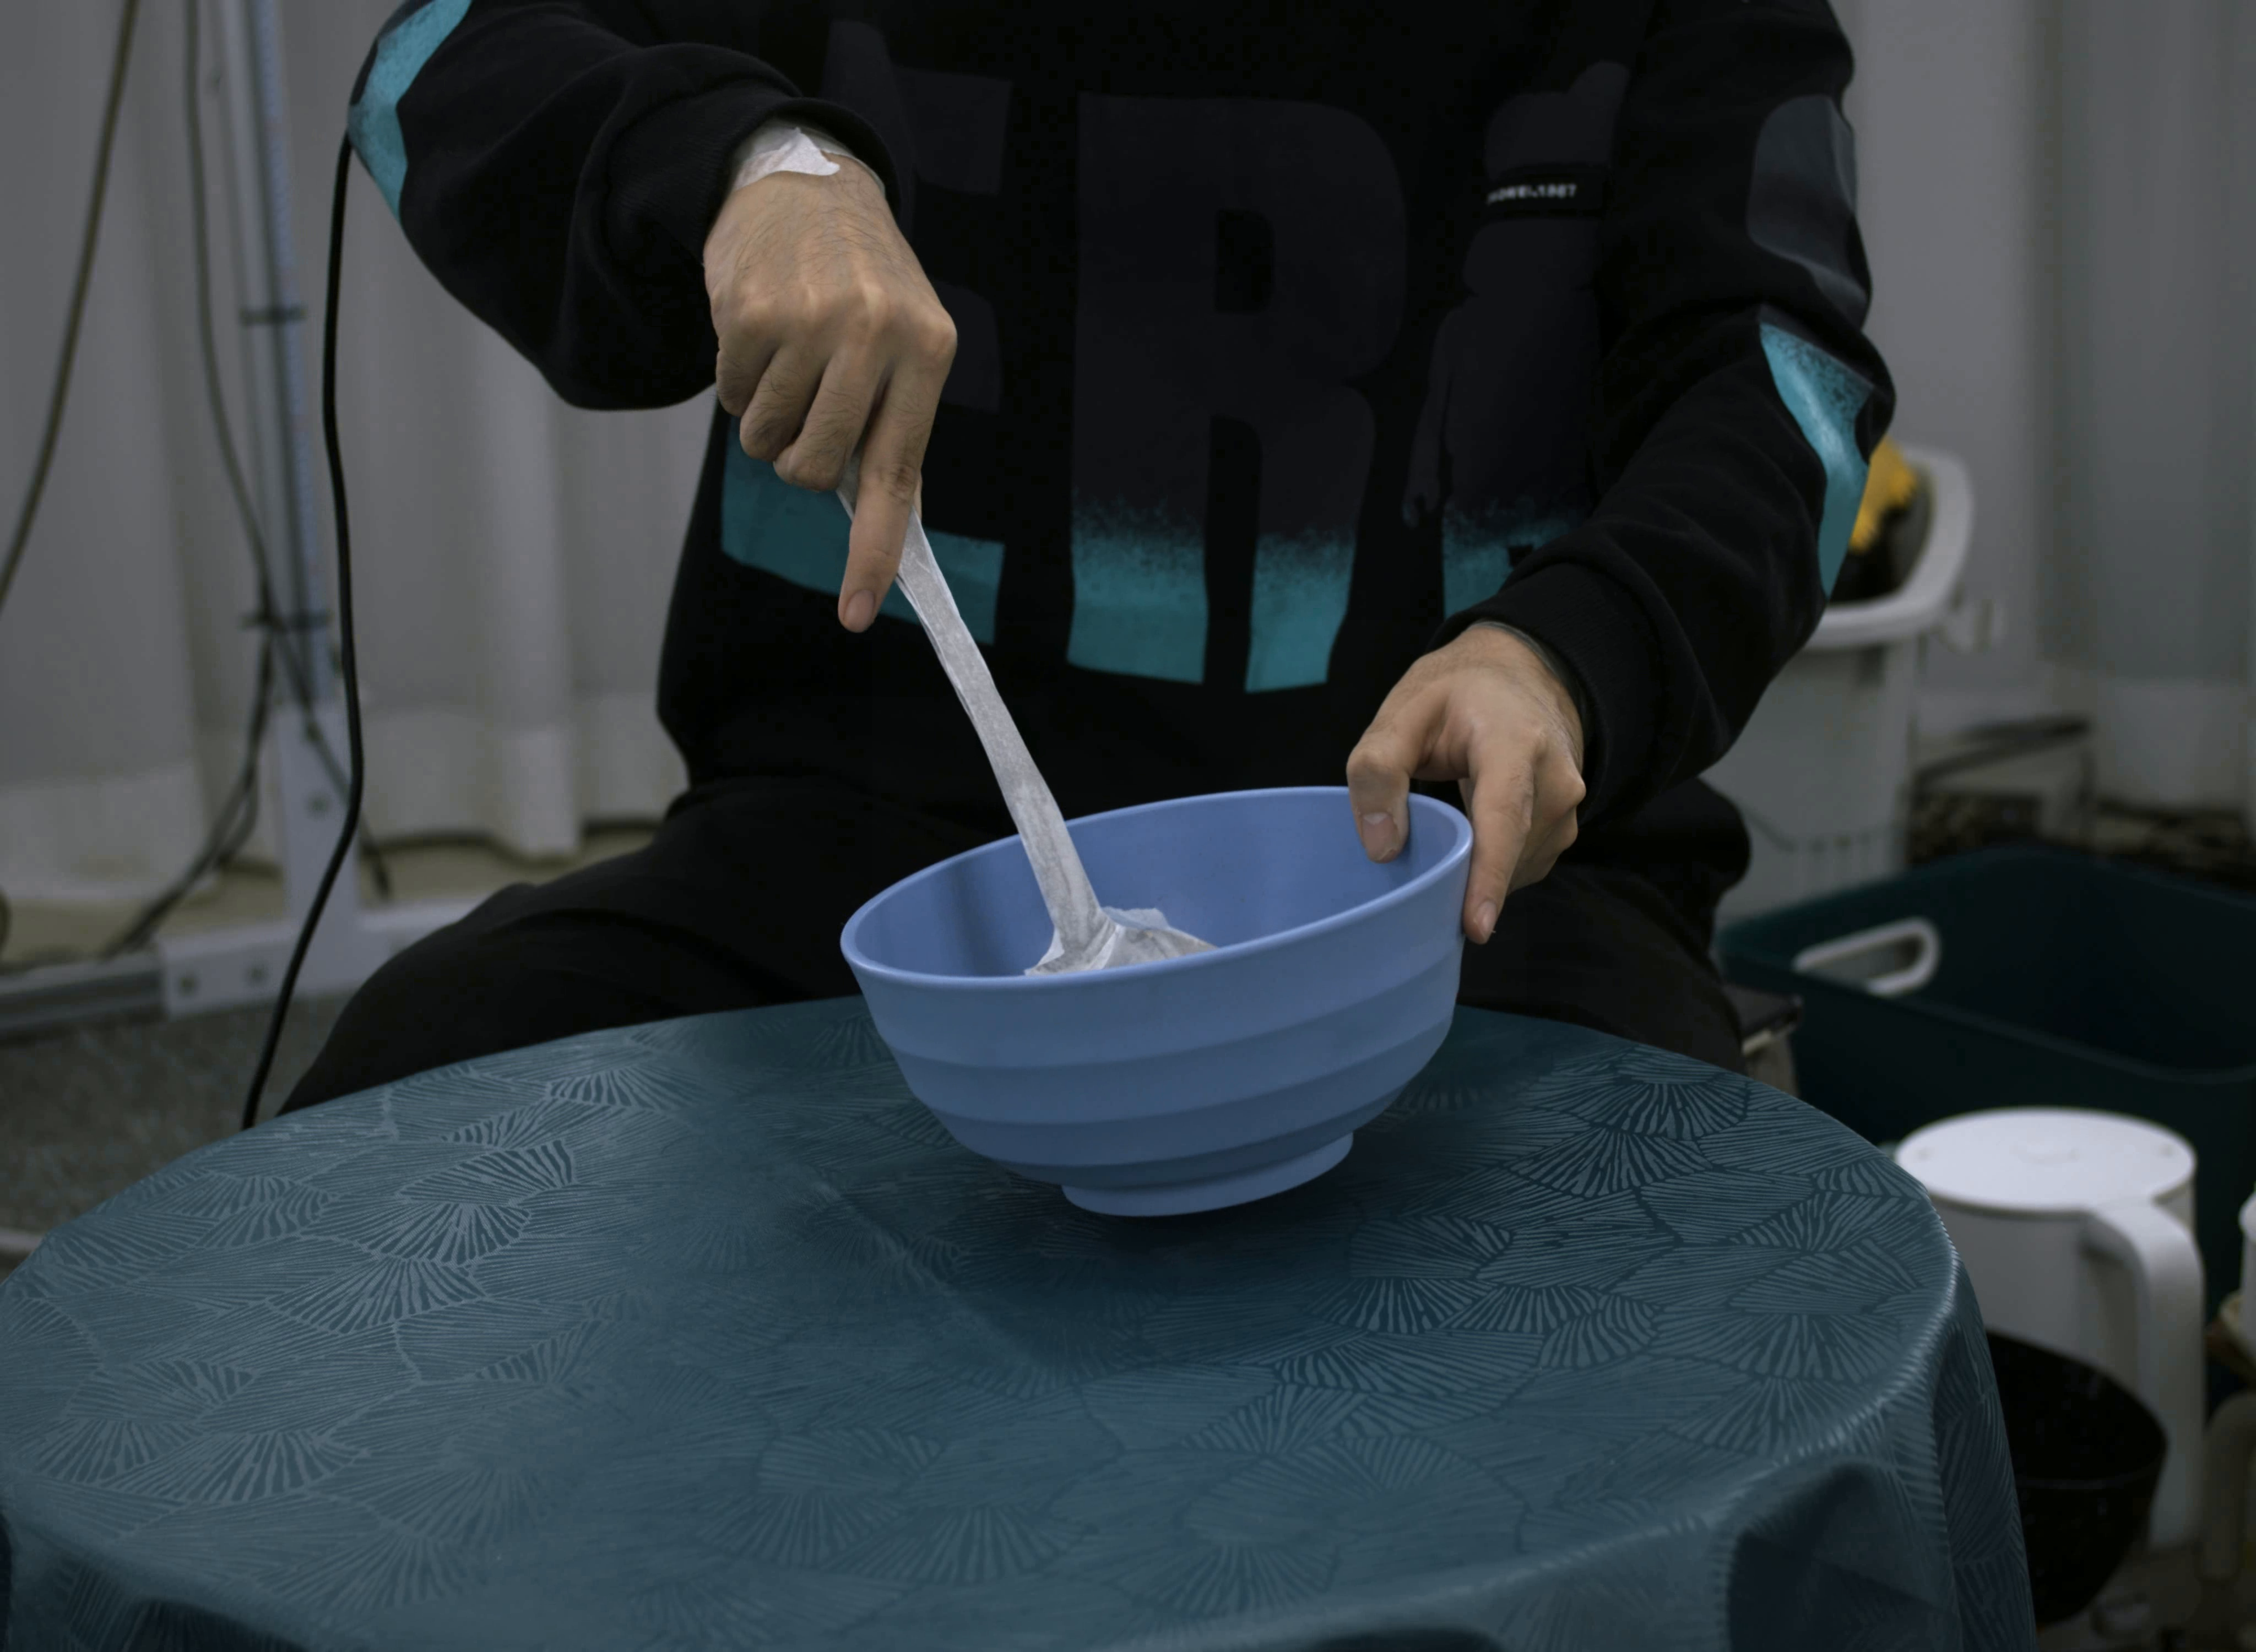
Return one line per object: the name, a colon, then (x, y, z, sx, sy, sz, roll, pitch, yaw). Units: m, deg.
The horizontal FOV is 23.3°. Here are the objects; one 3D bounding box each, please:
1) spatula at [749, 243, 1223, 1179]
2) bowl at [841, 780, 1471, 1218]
spatula: (-0.043, -0.045, 1.719, 0.098, 0.369, 0.044, -16, -22, -26)
bowl: (0.016, 0.060, 1.681, 0.196, 0.095, 0.198, -10, 15, 2)
